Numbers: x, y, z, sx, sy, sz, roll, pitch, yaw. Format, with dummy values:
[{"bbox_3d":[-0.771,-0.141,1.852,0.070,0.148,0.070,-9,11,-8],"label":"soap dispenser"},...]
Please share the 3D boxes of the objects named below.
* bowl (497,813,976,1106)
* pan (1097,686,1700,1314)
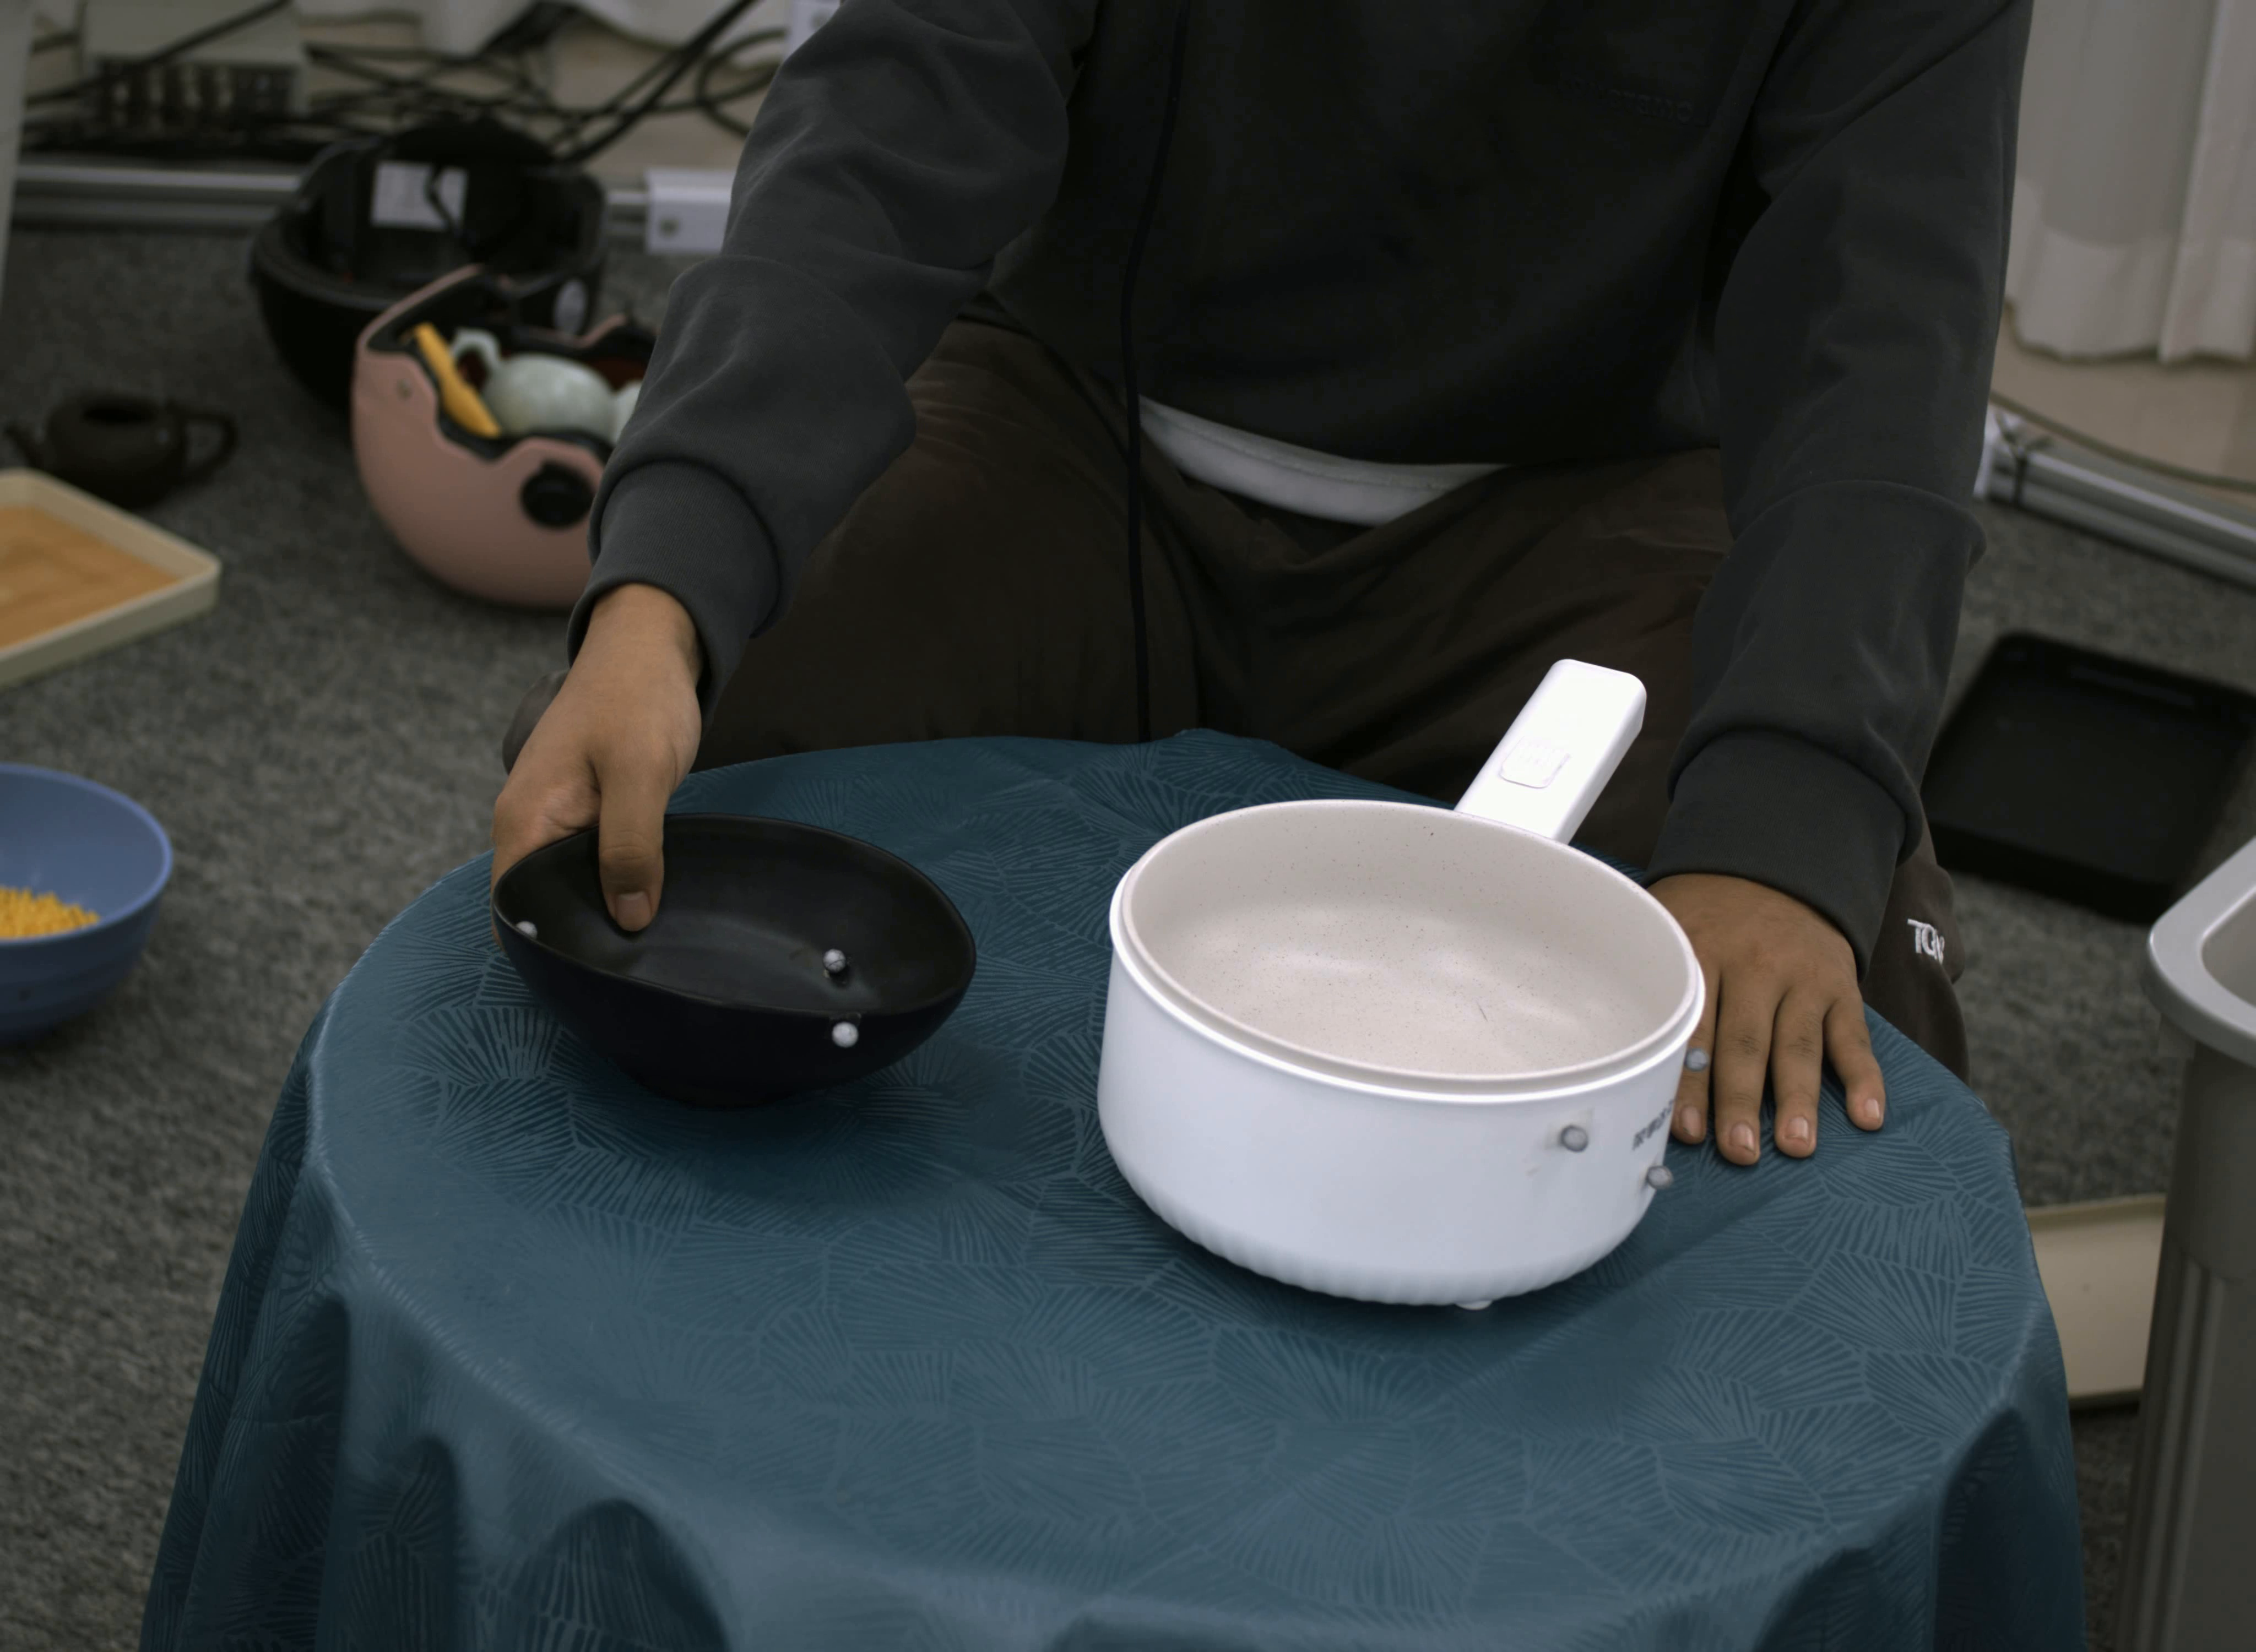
[{"bbox_3d":[-0.138,0.054,1.836,0.170,0.066,0.137,12,27,10],"label":"bowl"},{"bbox_3d":[0.113,0.056,1.871,0.201,0.102,0.355,13,25,15],"label":"pan"}]
